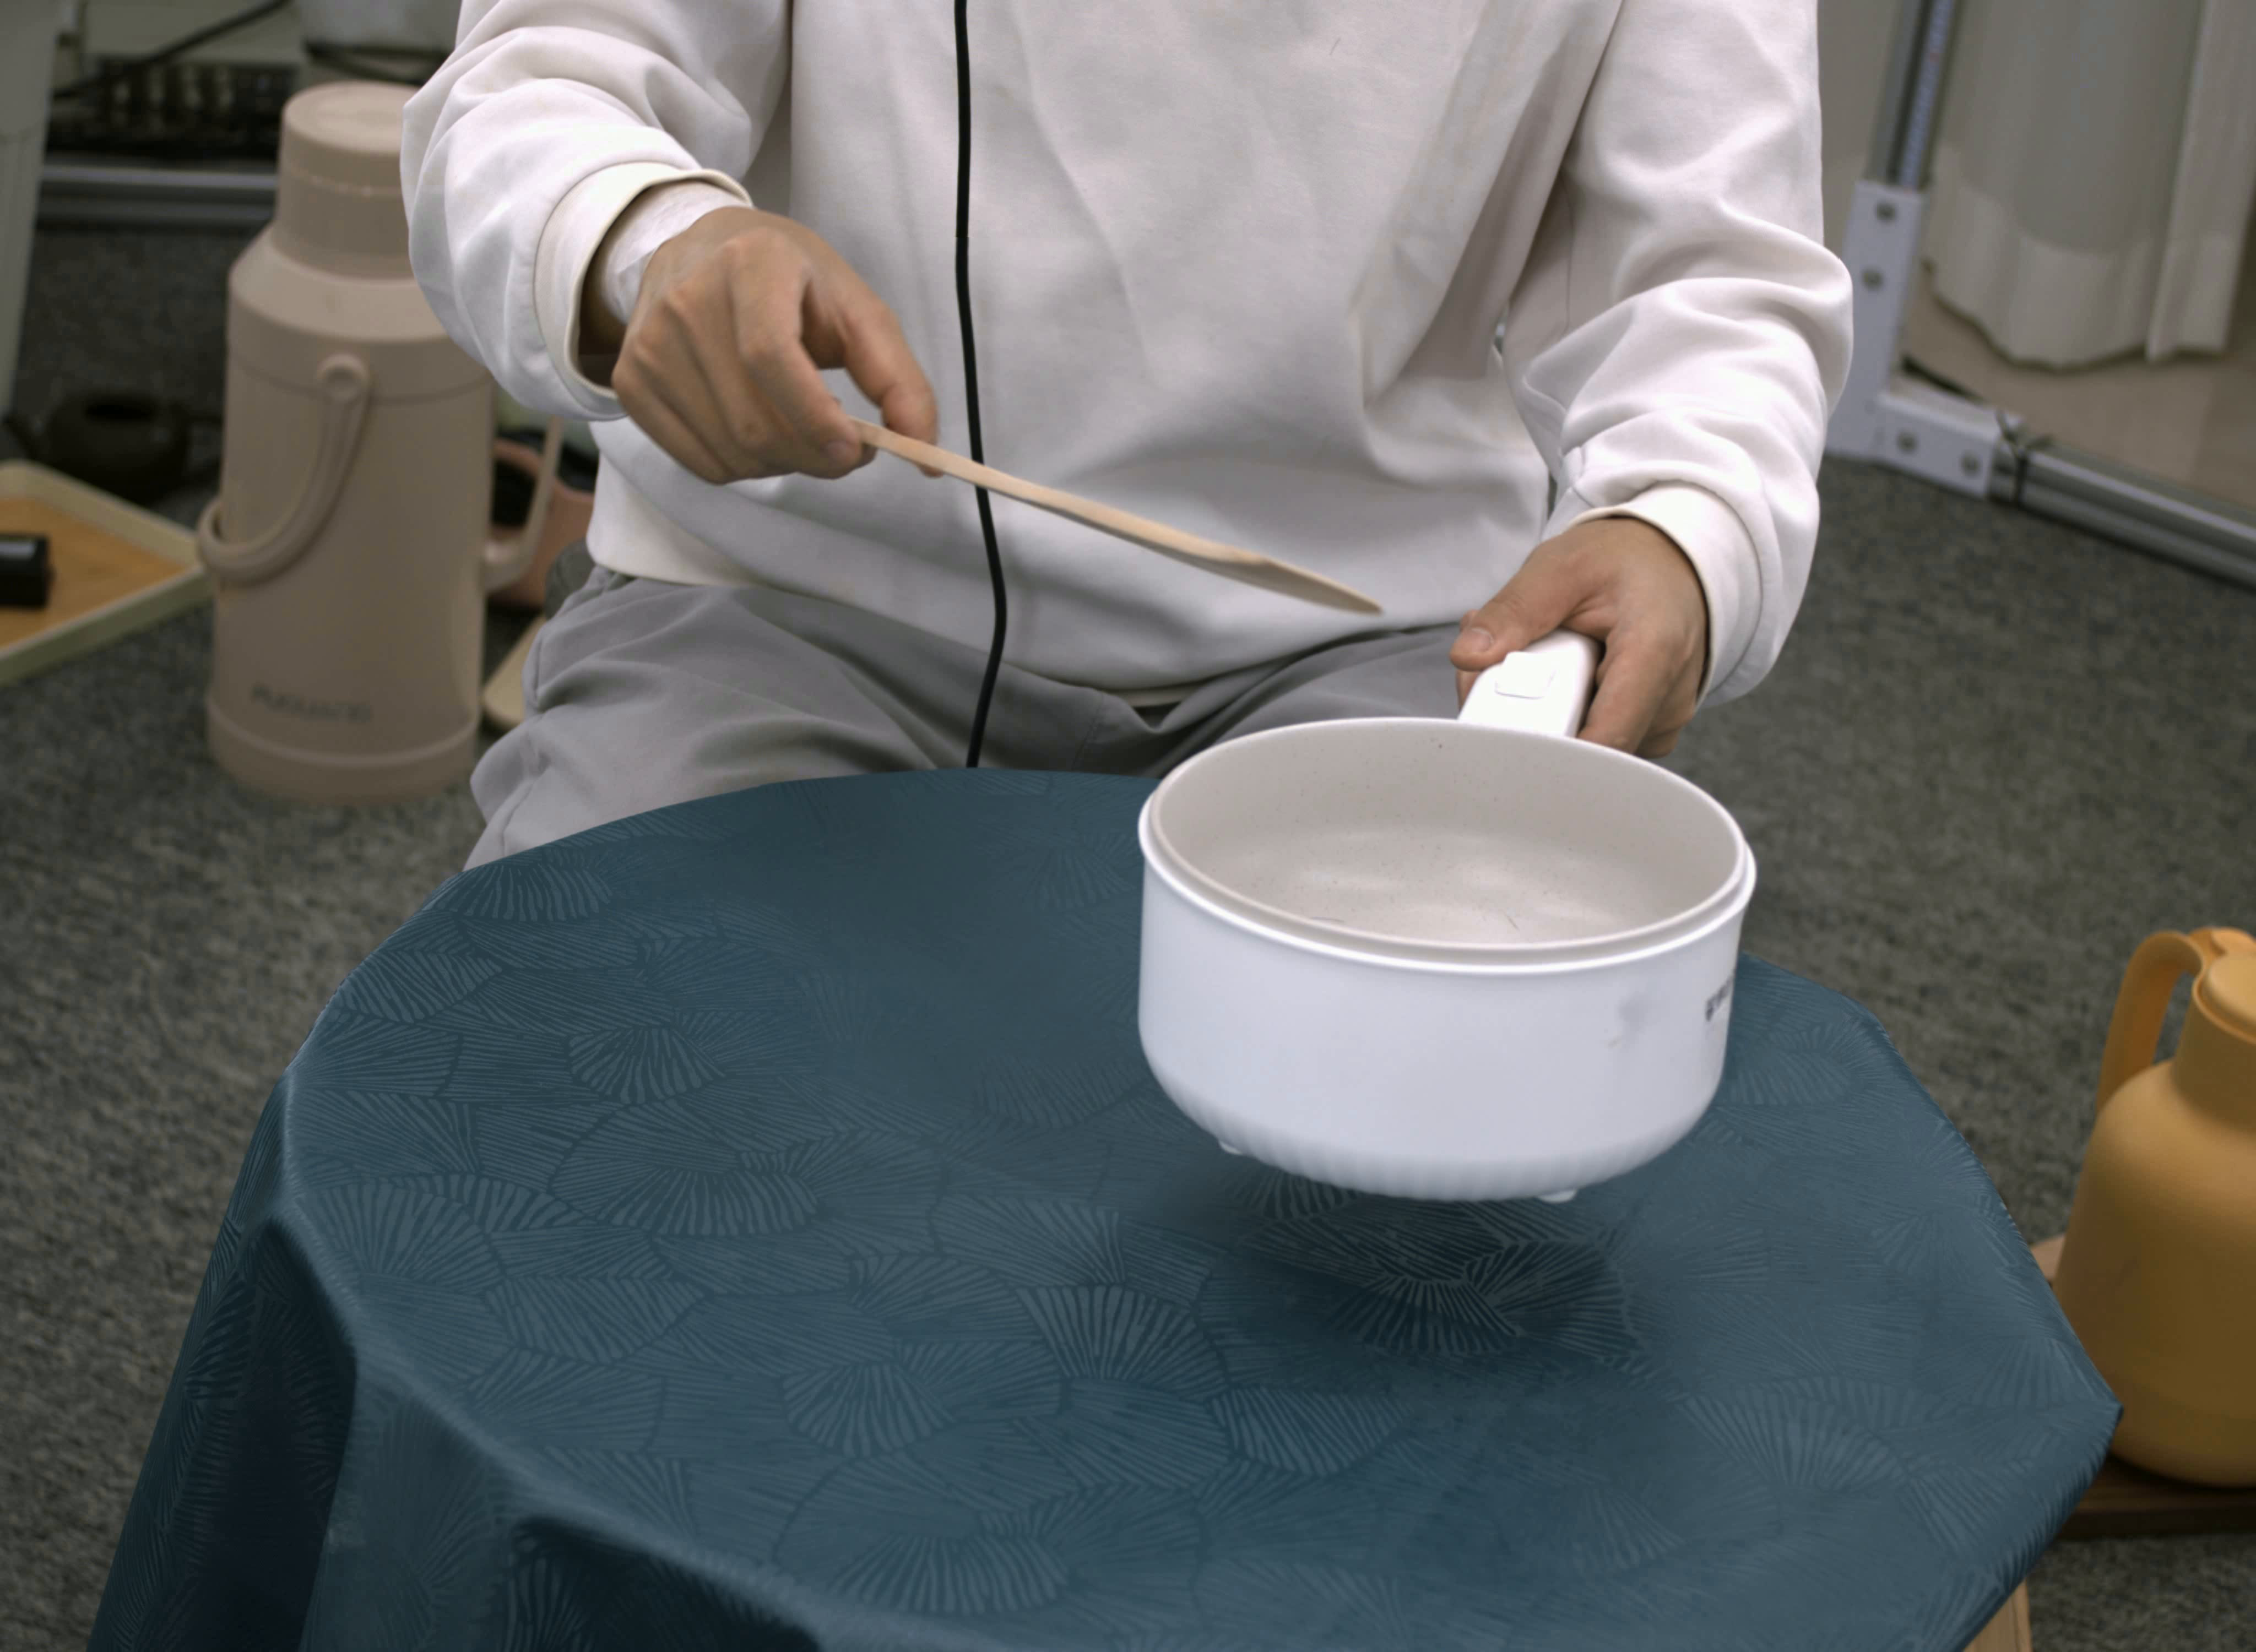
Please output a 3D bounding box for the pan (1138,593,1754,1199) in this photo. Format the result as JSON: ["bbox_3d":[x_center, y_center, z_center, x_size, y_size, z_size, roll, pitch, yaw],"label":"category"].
[{"bbox_3d":[0.119,0.020,1.818,0.201,0.102,0.355,7,22,12],"label":"pan"}]

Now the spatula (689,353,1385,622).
[{"bbox_3d":[-0.043,-0.115,1.751,0.295,0.010,0.071,23,3,39],"label":"spatula"}]
